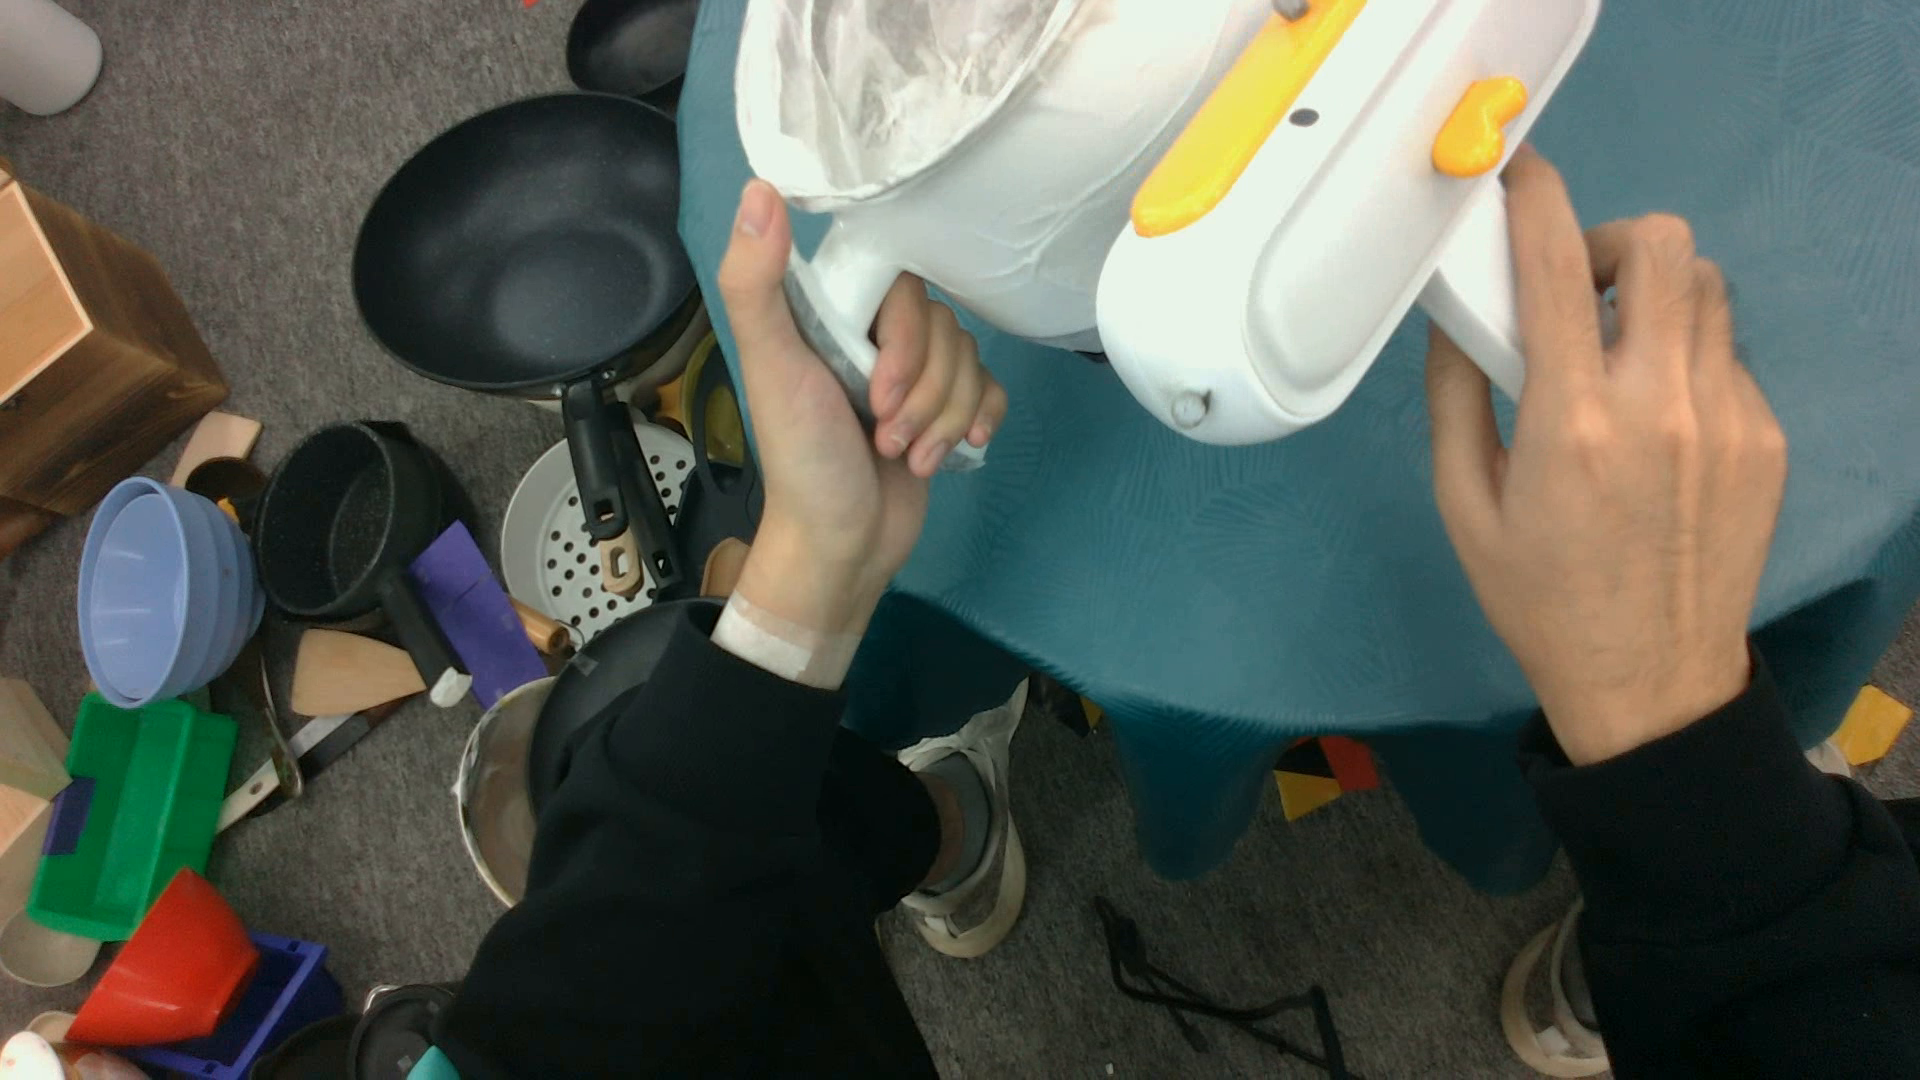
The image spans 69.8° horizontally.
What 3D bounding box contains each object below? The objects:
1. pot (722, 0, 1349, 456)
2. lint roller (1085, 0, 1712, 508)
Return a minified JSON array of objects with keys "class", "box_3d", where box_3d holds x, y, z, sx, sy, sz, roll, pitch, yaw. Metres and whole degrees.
[{"class":"pot","box_3d":[0.014,-0.145,0.461,0.179,0.136,0.233,36,98,49]},{"class":"lint roller","box_3d":[0.146,-0.075,0.393,0.074,0.192,0.193,5,60,56]}]
